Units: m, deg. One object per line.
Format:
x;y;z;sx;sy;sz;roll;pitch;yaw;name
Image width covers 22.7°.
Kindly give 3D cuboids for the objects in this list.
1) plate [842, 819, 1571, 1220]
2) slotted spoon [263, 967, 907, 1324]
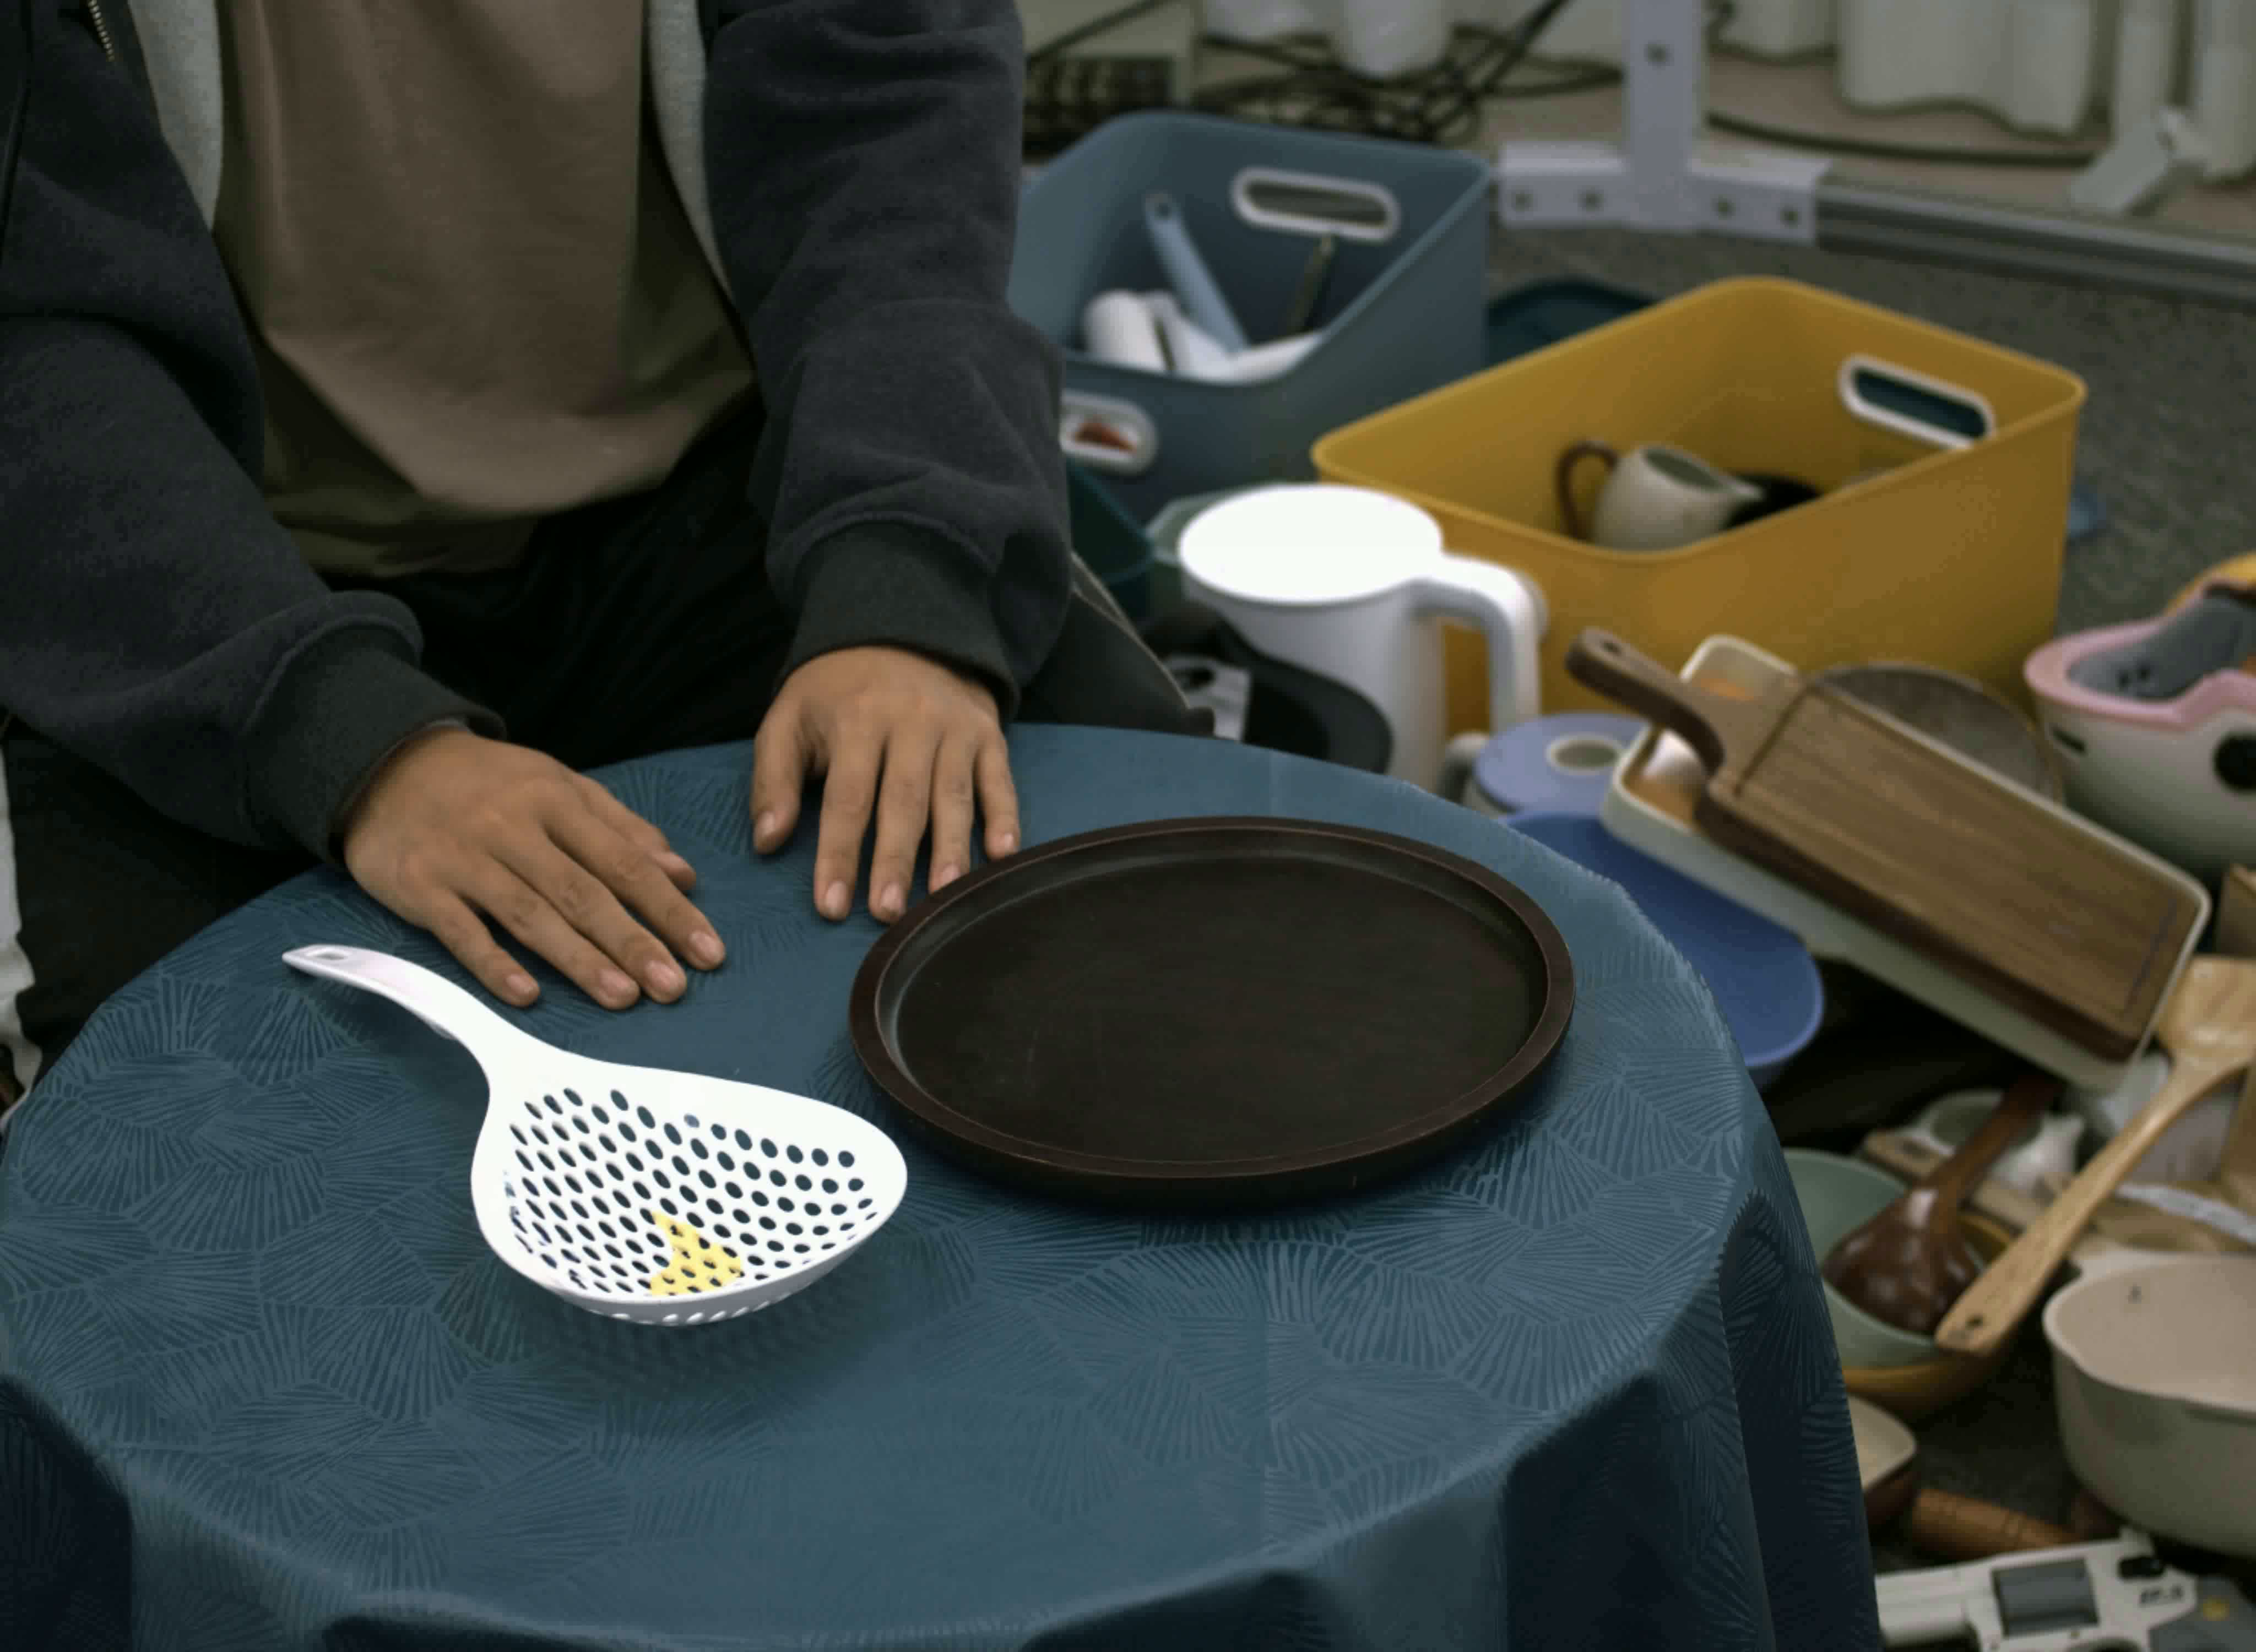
0.027;0.065;1.944;0.253;0.029;0.259;-3;28;2;plate
-0.202;0.093;1.892;0.138;0.050;0.348;-22;33;-29;slotted spoon
